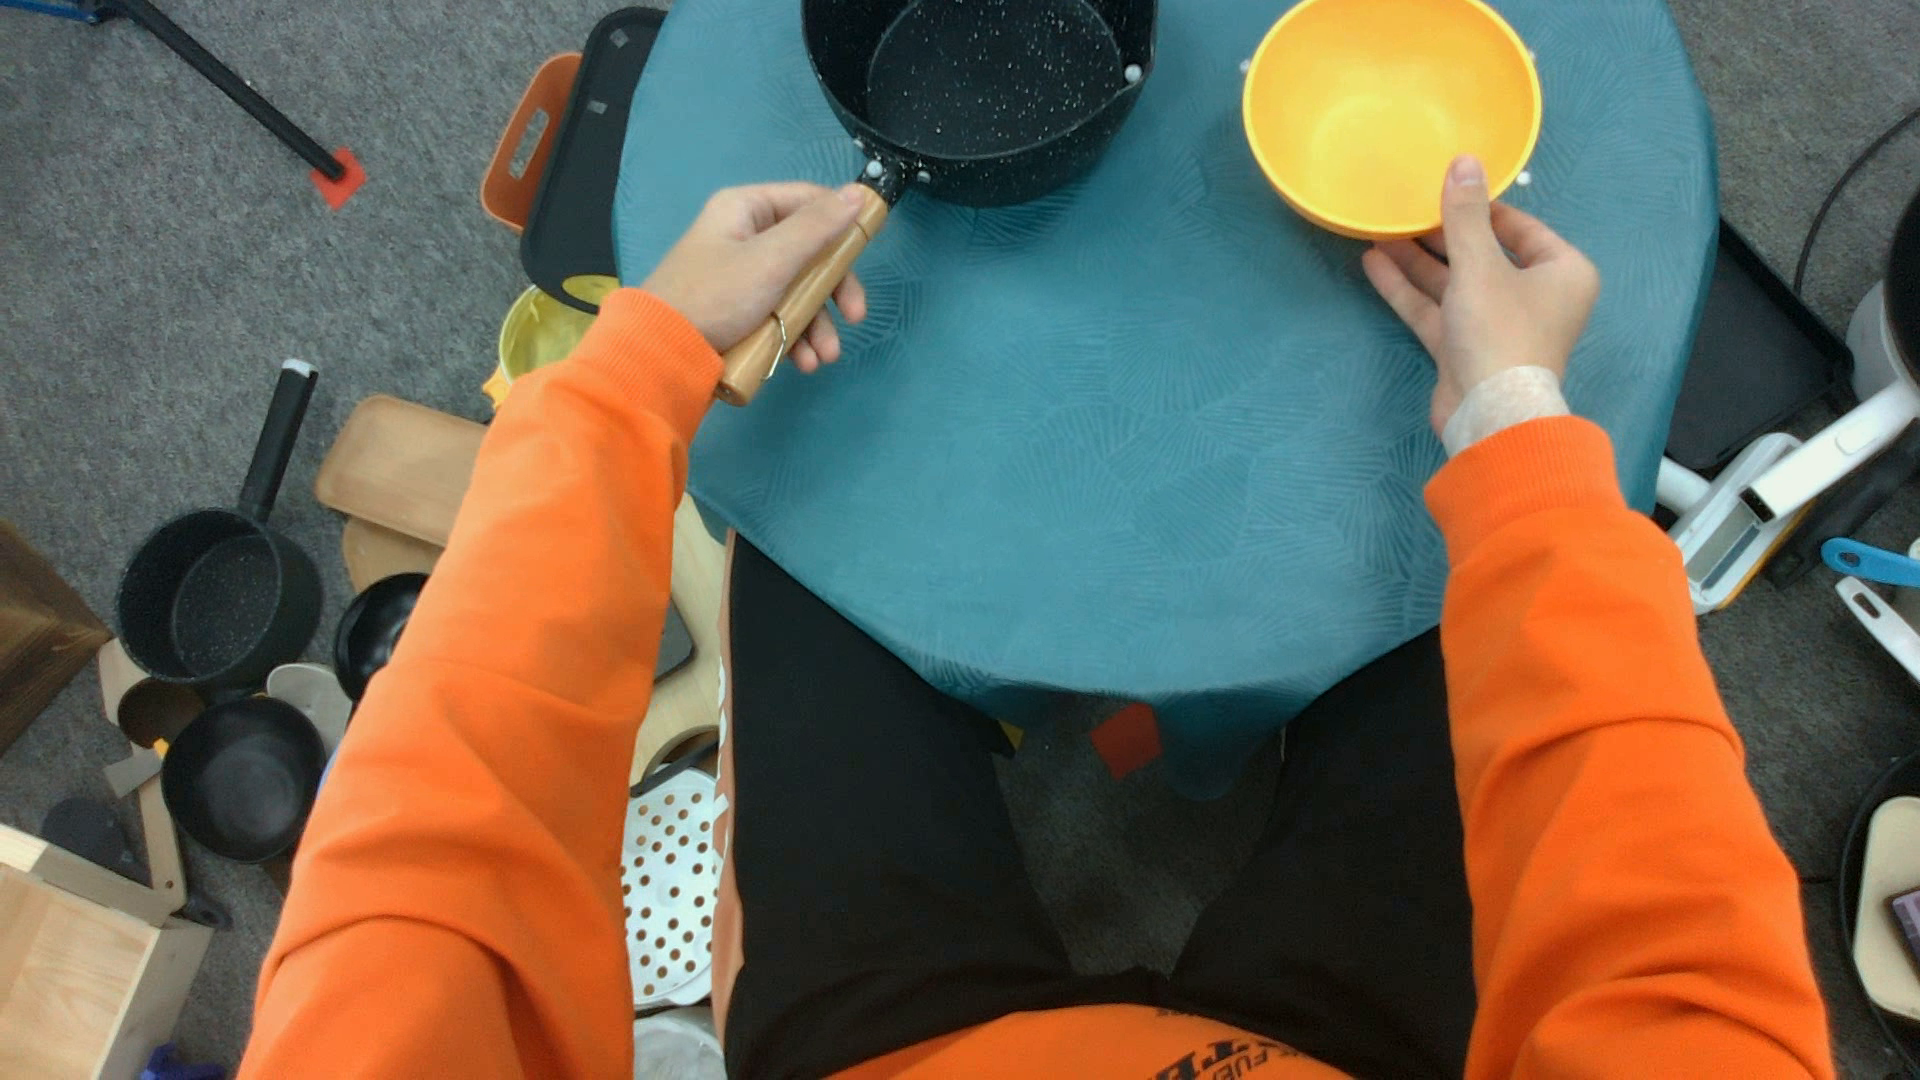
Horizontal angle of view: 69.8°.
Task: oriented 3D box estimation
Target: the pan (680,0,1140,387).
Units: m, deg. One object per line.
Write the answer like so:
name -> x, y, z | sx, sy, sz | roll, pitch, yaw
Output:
pan -> -0.034, -0.210, 0.721 | 0.207, 0.108, 0.343 | 26, 79, 11

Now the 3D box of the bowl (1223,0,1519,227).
bowl -> 0.210, -0.220, 0.721 | 0.145, 0.060, 0.145 | -2, 75, 8
